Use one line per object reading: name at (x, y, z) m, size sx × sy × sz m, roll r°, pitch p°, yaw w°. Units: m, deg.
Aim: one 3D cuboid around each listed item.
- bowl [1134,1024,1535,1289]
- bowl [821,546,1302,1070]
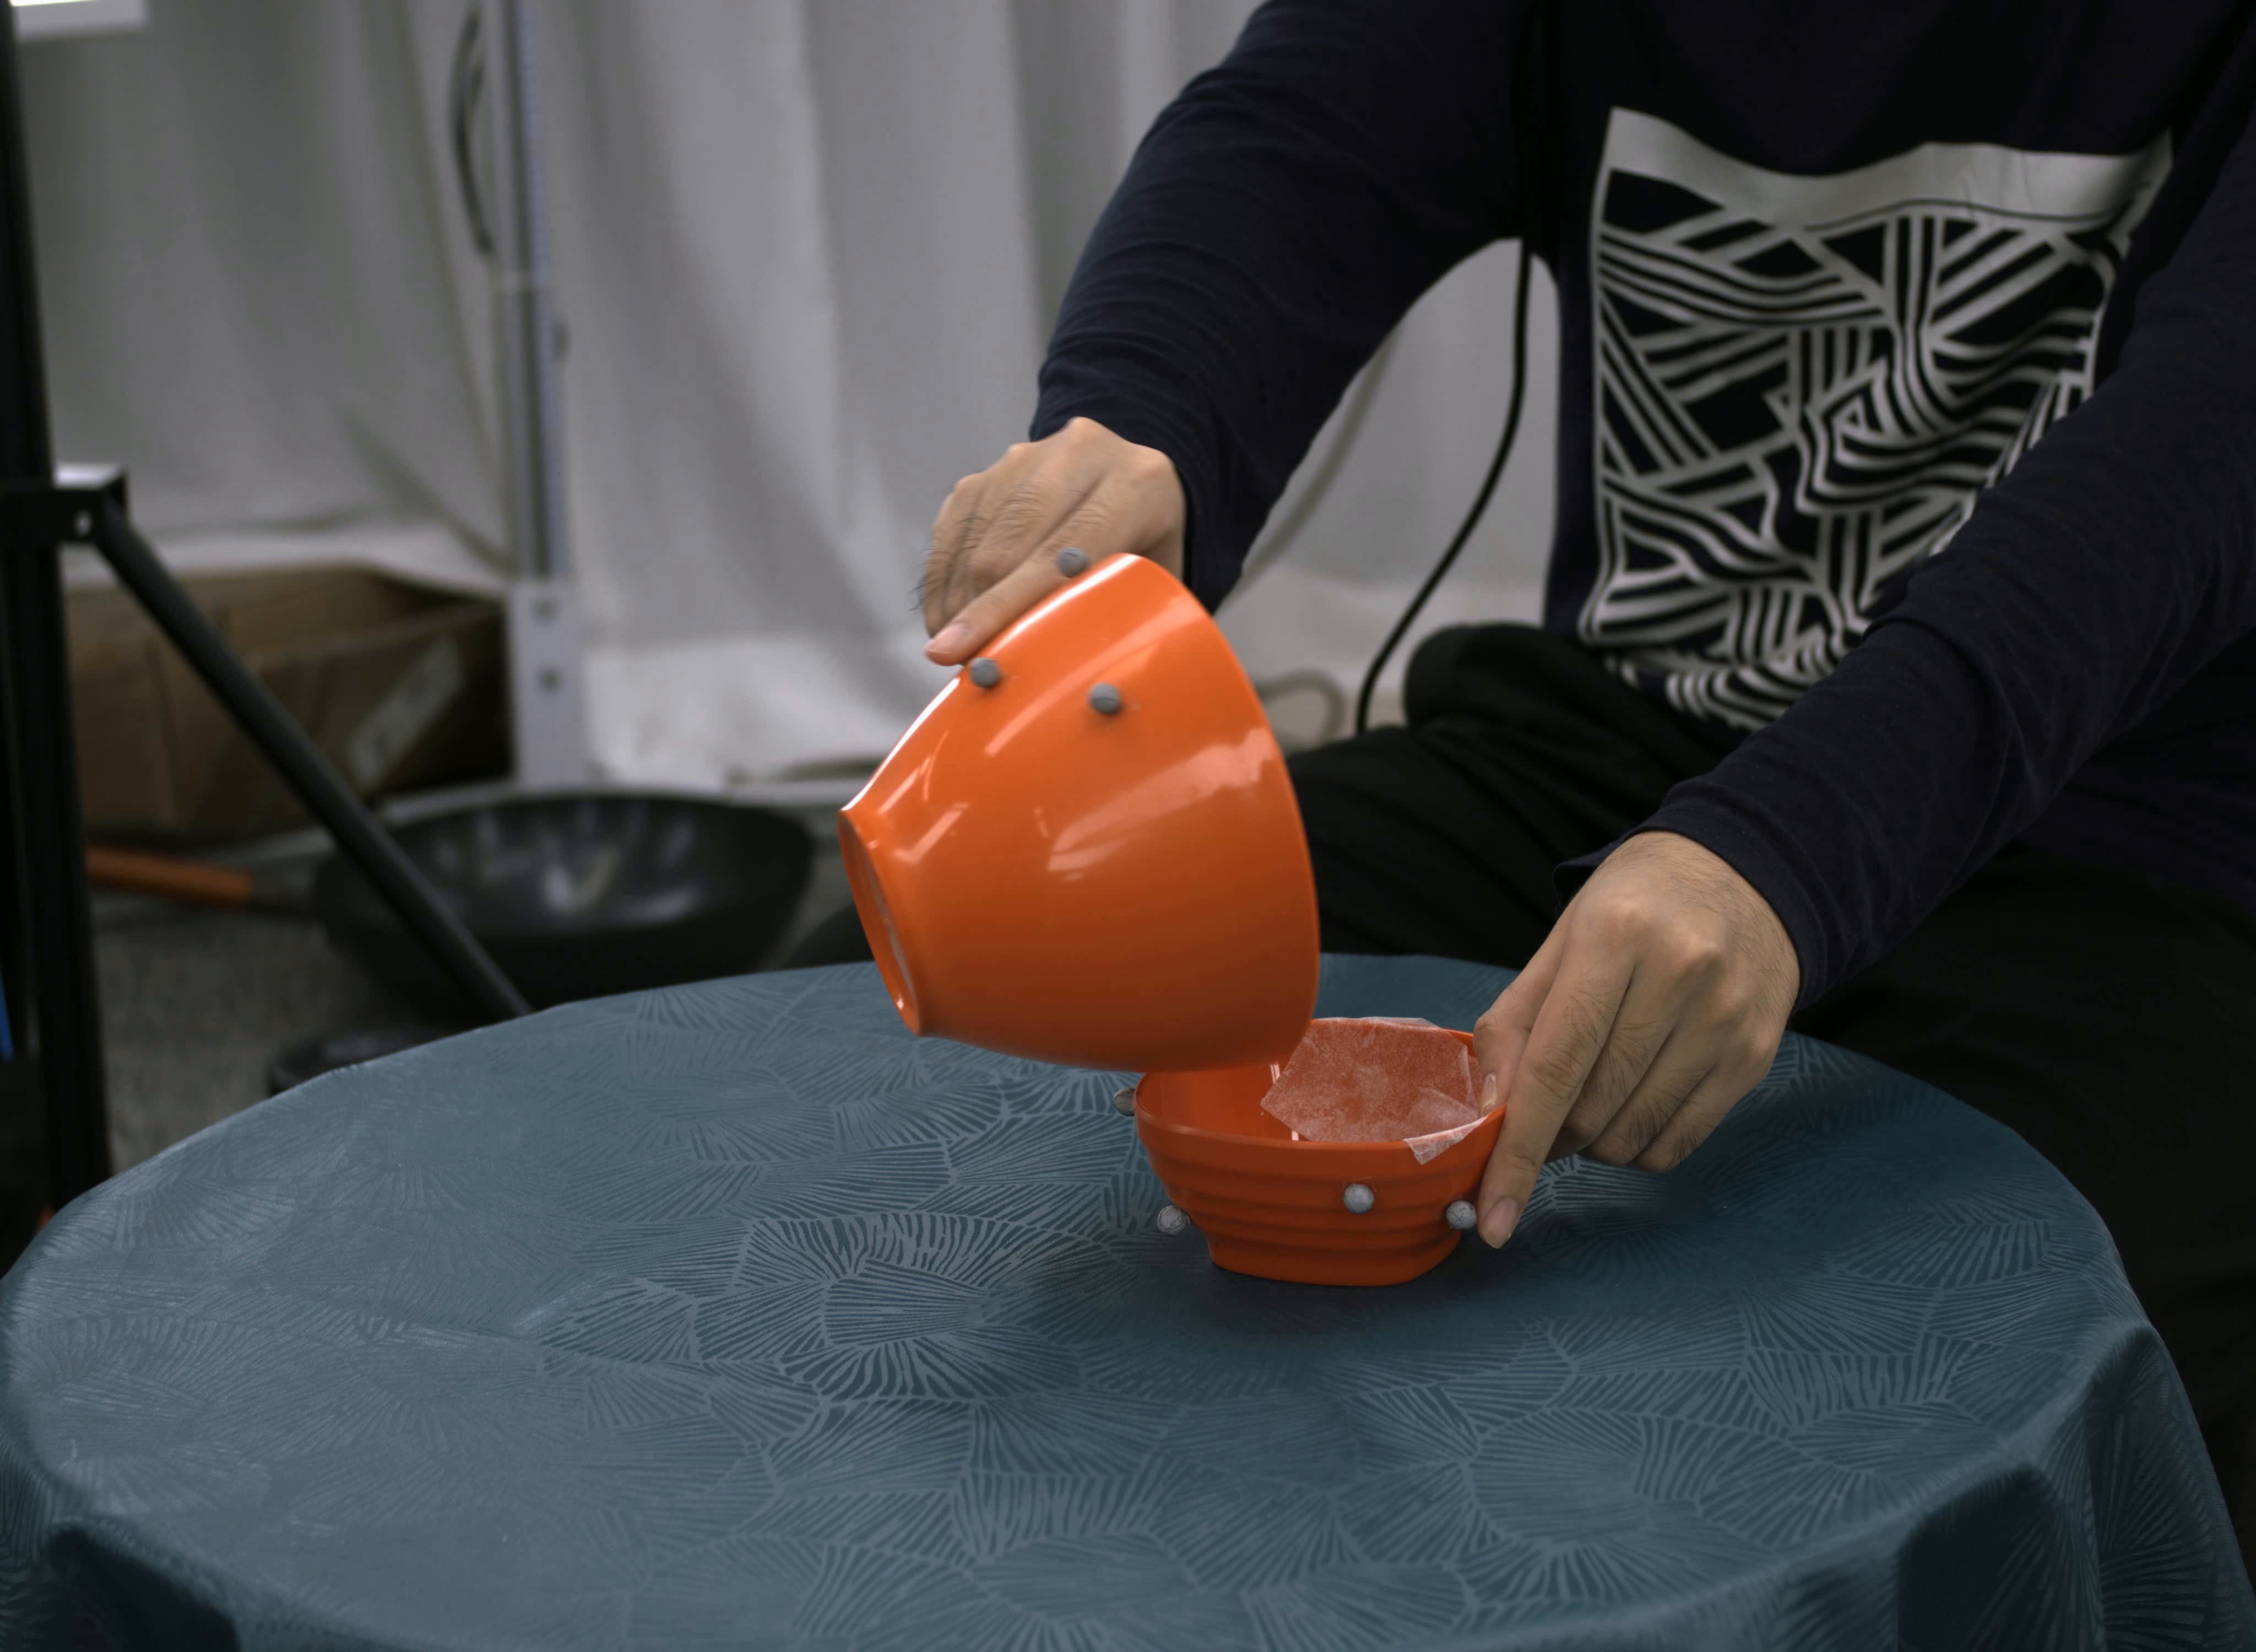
bowl at (0.060, 0.096, 1.505) m, size 0.118 × 0.051 × 0.119 m, roll -3°, pitch 14°, yaw -1°
bowl at (-0.024, 0.007, 1.460) m, size 0.103 × 0.147 × 0.150 m, roll -19°, pitch 19°, yaw -11°
